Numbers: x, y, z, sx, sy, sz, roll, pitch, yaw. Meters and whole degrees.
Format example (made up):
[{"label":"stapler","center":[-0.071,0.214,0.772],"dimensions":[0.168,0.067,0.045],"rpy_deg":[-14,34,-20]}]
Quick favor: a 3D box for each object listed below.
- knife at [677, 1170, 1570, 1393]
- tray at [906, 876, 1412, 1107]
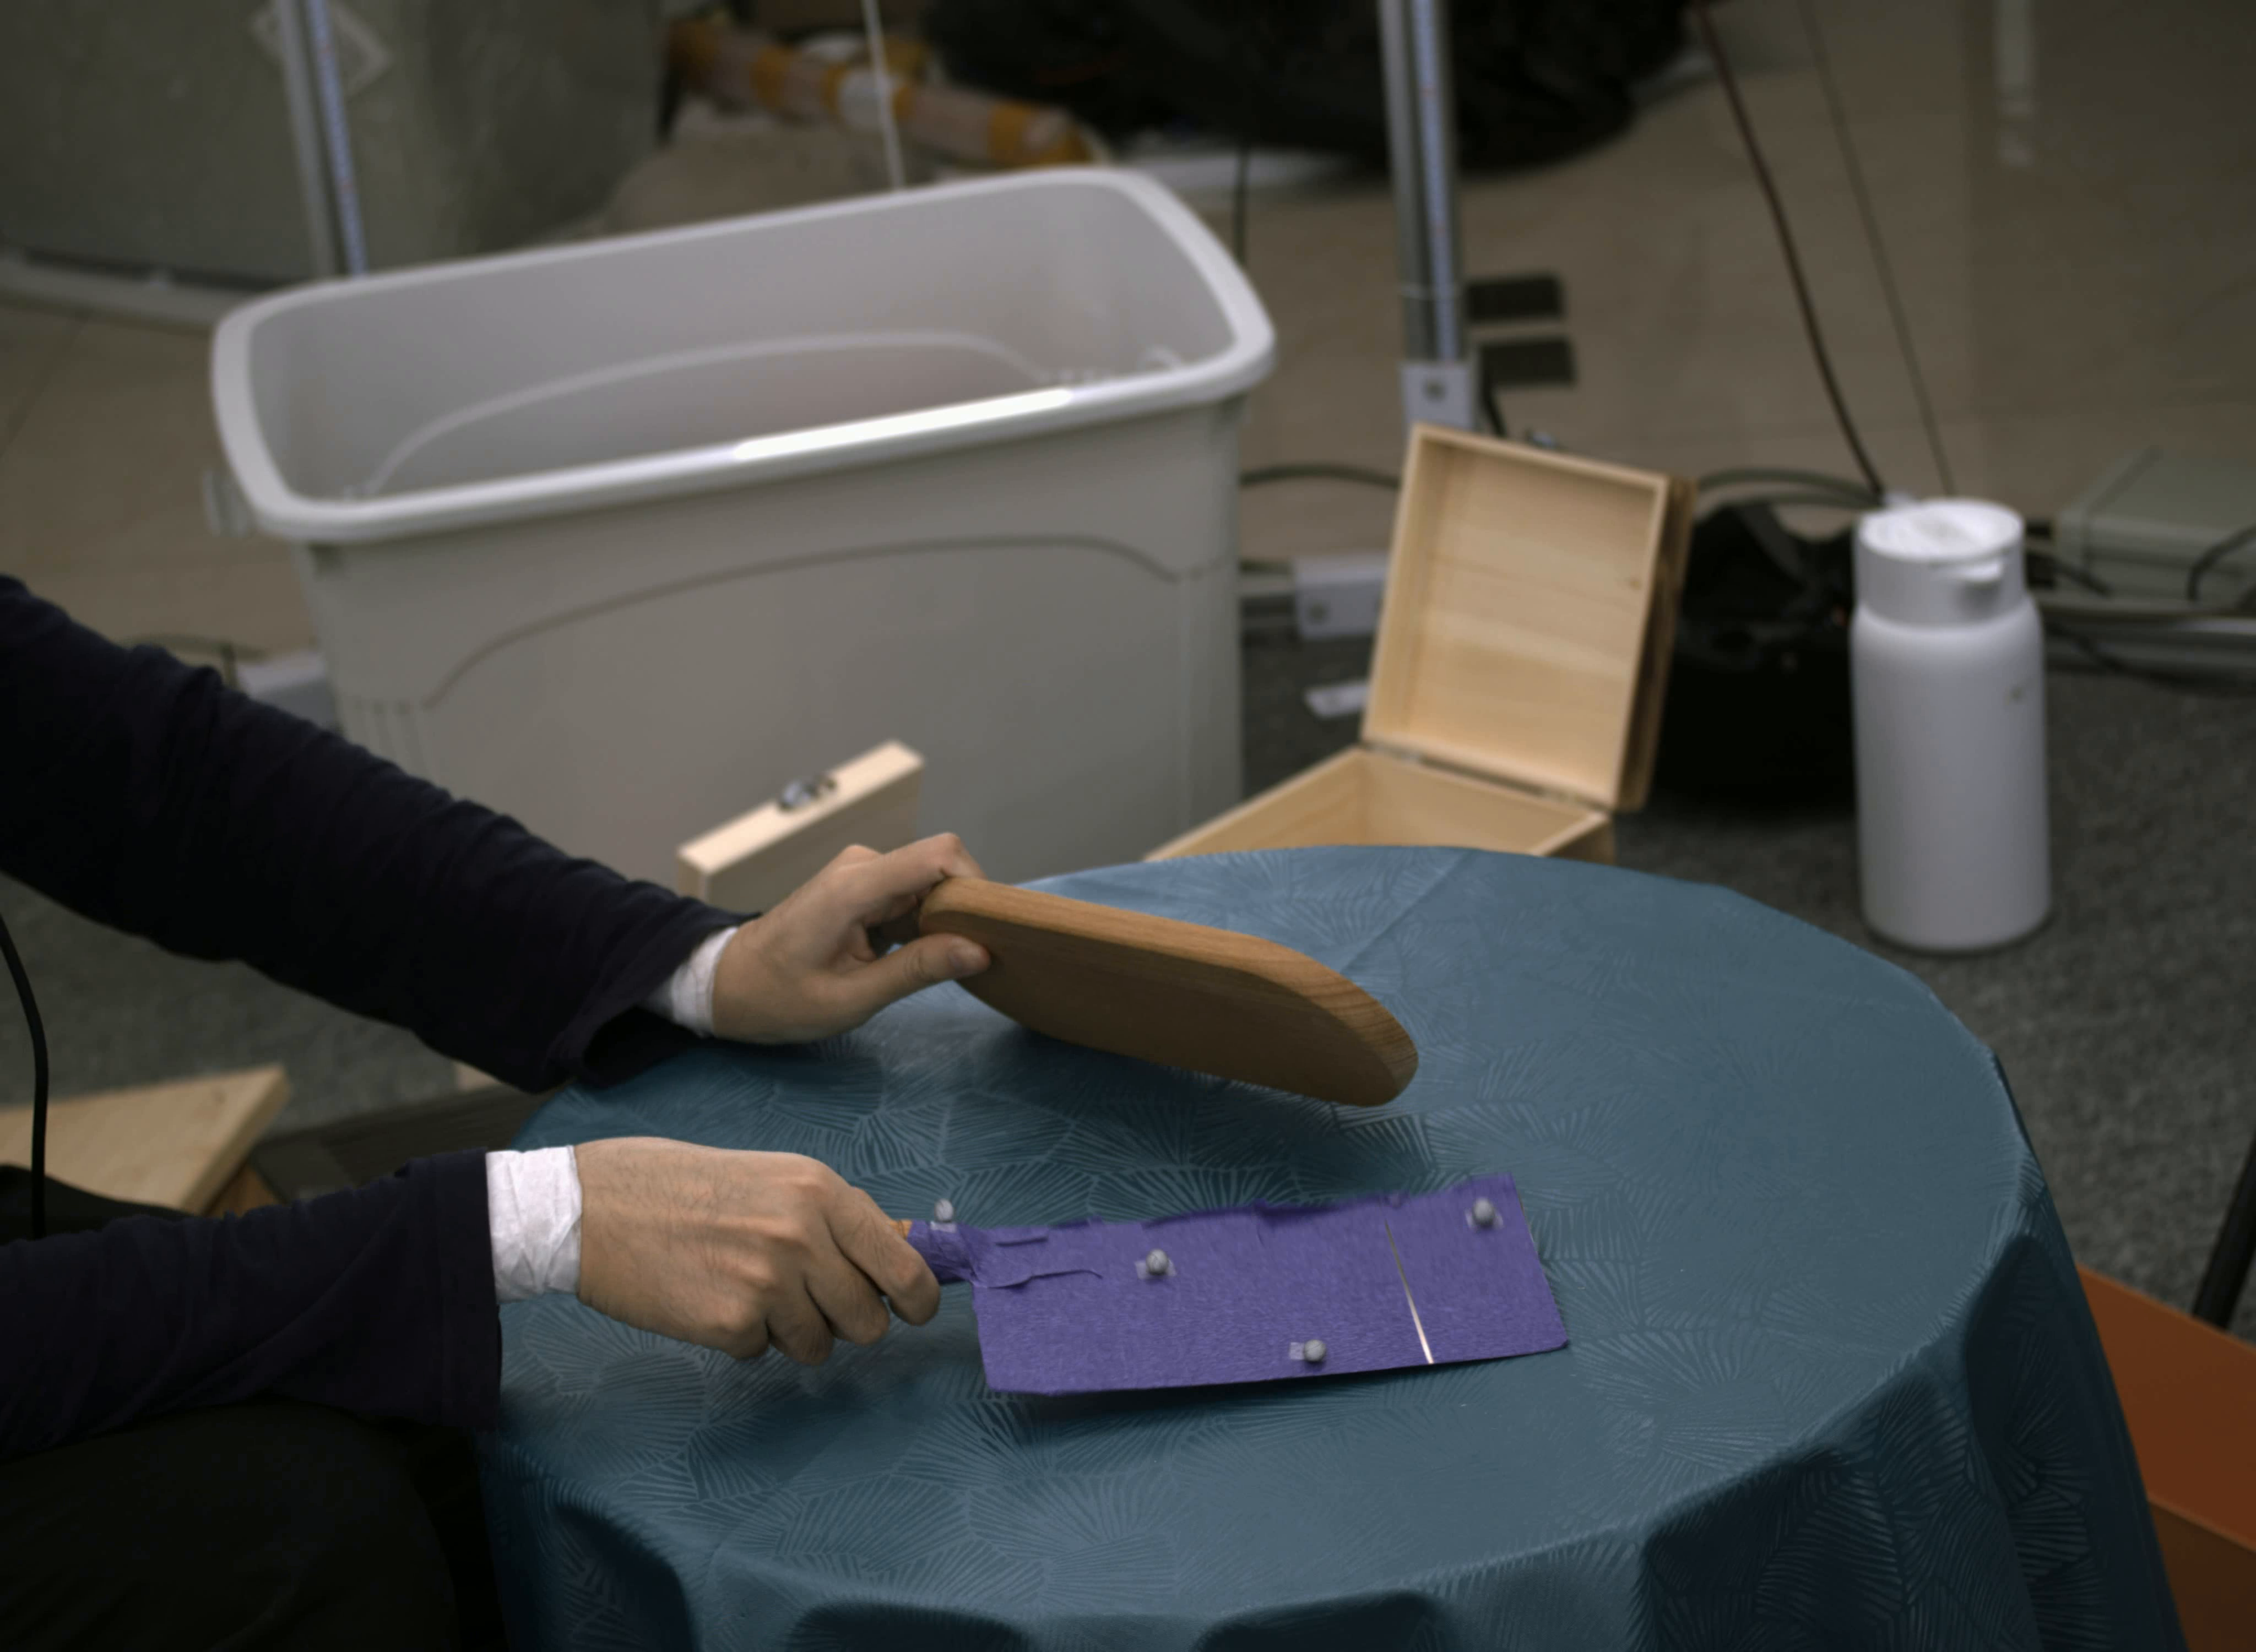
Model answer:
[{"label":"knife","center":[-0.002,0.166,2.029],"dimensions":[0.314,0.033,0.102],"rpy_deg":[-6,33,-6]},{"label":"tray","center":[0.009,0.065,2.199],"dimensions":[0.230,0.103,0.020],"rpy_deg":[10,61,36]}]
